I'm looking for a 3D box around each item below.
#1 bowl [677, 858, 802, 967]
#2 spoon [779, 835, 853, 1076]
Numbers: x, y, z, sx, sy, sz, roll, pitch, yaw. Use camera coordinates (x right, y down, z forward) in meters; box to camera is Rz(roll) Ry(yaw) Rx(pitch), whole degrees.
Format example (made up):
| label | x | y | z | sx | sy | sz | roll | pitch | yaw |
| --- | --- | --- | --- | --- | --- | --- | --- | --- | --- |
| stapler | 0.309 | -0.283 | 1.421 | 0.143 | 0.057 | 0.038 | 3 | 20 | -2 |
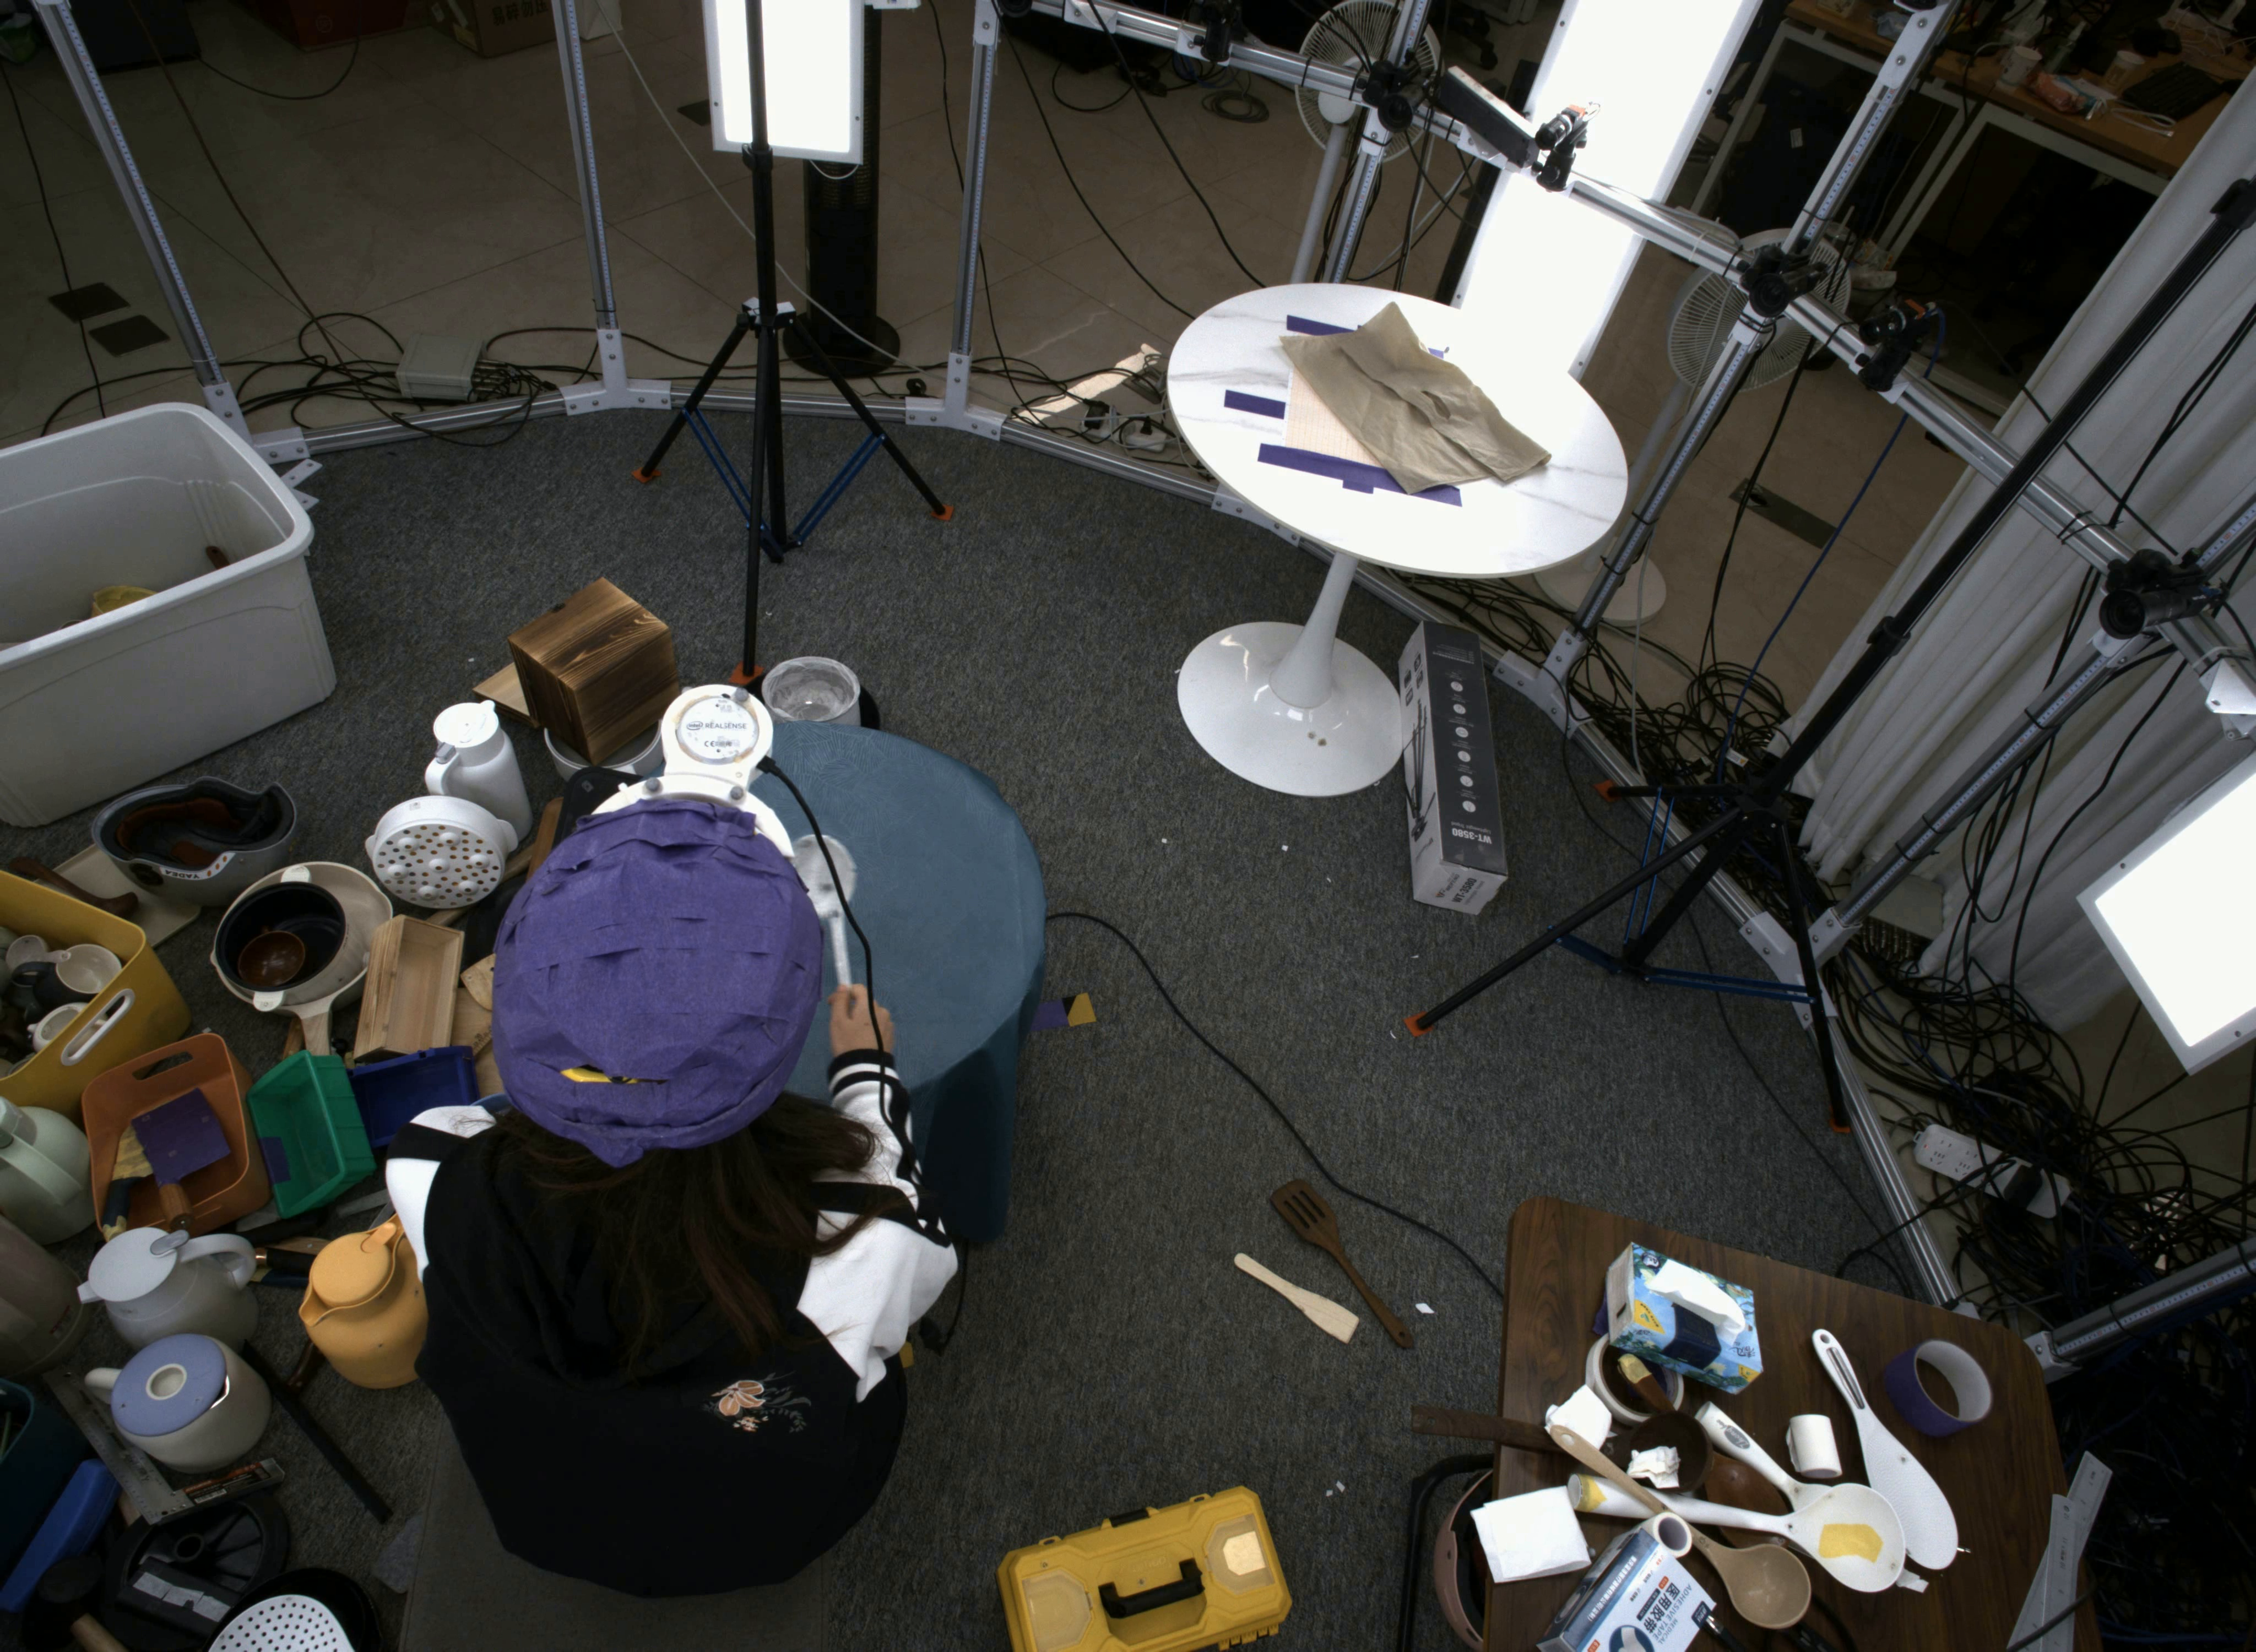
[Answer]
| label | x | y | z | sx | sy | sz | roll | pitch | yaw |
| --- | --- | --- | --- | --- | --- | --- | --- | --- | --- |
| bowl | -0.474 | 0.114 | 1.586 | 0.151 | 0.060 | 0.149 | 8 | 52 | -8 |
| spoon | -0.353 | 0.145 | 1.479 | 0.099 | 0.061 | 0.273 | -21 | 63 | 24 |
